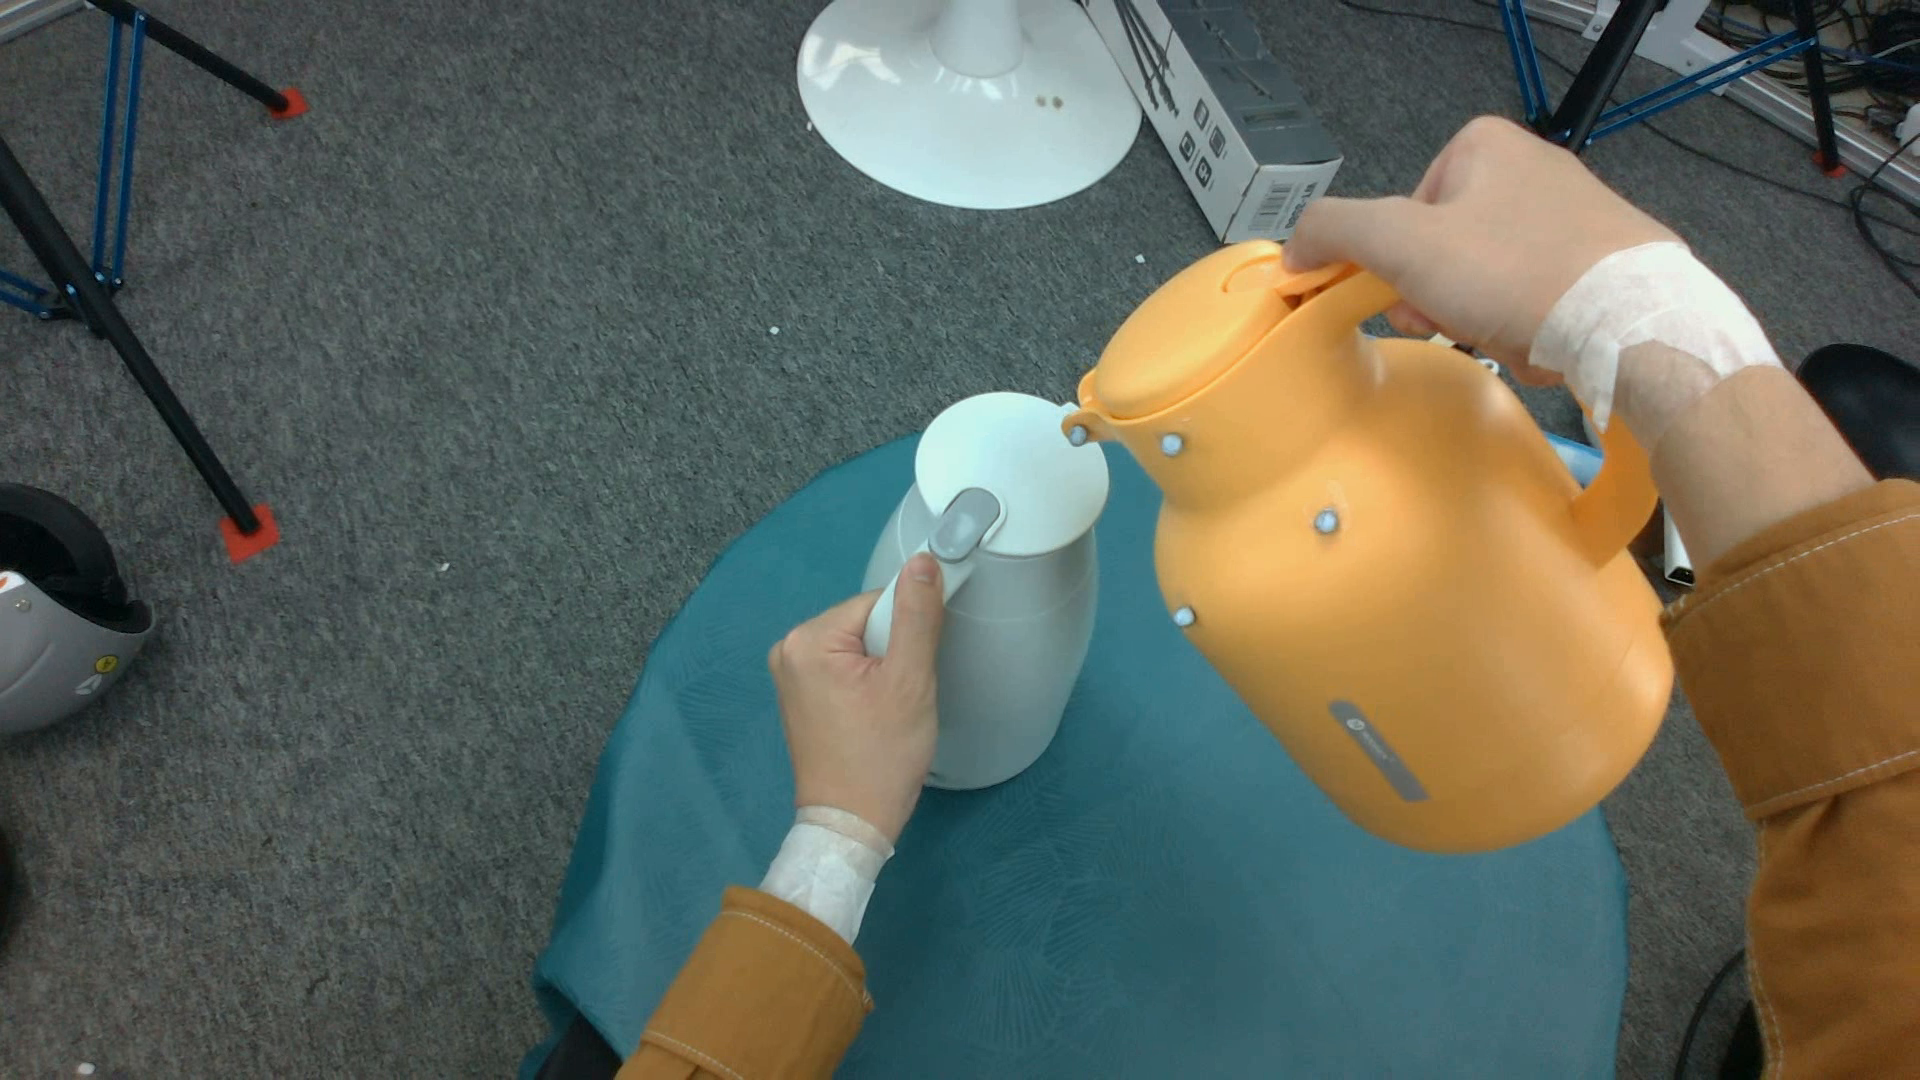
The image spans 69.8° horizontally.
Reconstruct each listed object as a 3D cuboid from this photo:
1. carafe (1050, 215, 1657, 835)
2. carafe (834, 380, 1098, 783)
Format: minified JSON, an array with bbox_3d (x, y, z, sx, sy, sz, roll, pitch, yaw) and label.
[{"bbox_3d":[0.173,-0.011,0.560,0.260,0.201,0.164,44,47,-23],"label":"carafe"},{"bbox_3d":[-0.004,0.036,0.725,0.132,0.247,0.168,36,61,14],"label":"carafe"}]
